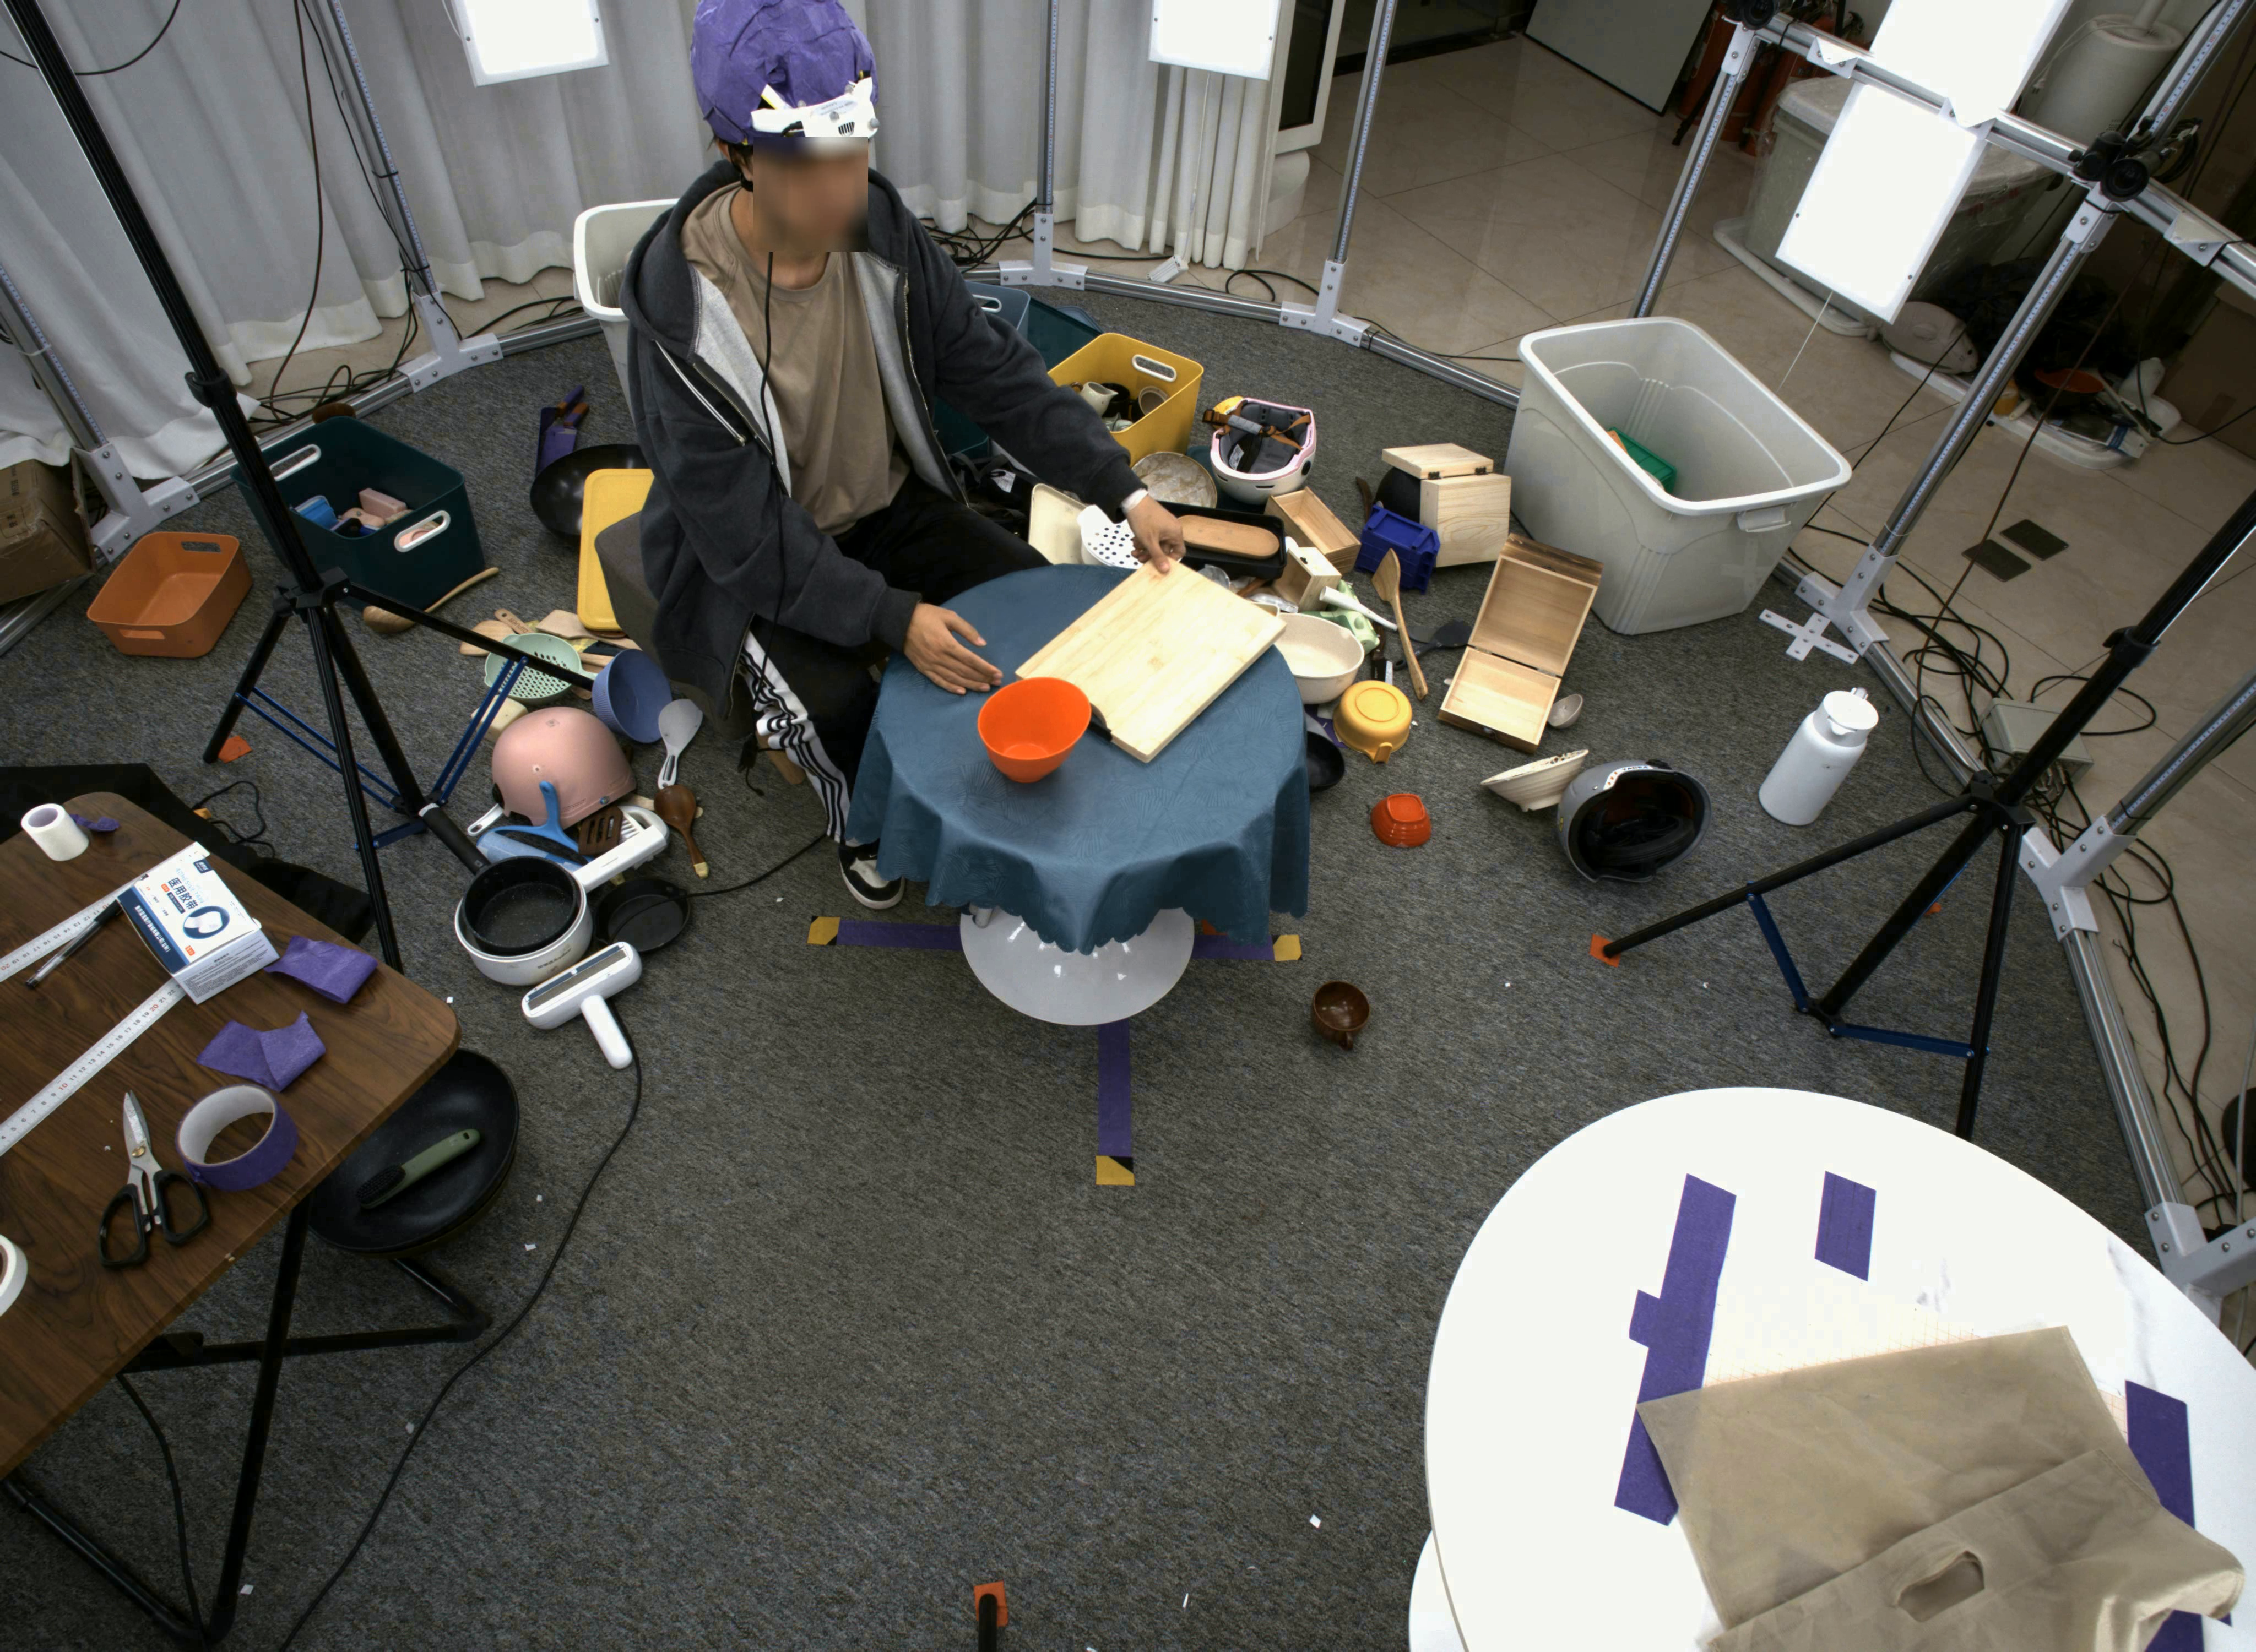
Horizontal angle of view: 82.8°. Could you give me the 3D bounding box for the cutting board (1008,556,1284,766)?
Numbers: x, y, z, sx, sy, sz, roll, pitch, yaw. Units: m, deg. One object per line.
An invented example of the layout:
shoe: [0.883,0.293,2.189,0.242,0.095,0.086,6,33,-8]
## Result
cutting board: [0.032,-0.249,1.866,0.253,0.023,0.353,32,56,22]

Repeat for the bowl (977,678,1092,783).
bowl: [-0.123,-0.114,1.691,0.148,0.102,0.152,2,50,-3]
